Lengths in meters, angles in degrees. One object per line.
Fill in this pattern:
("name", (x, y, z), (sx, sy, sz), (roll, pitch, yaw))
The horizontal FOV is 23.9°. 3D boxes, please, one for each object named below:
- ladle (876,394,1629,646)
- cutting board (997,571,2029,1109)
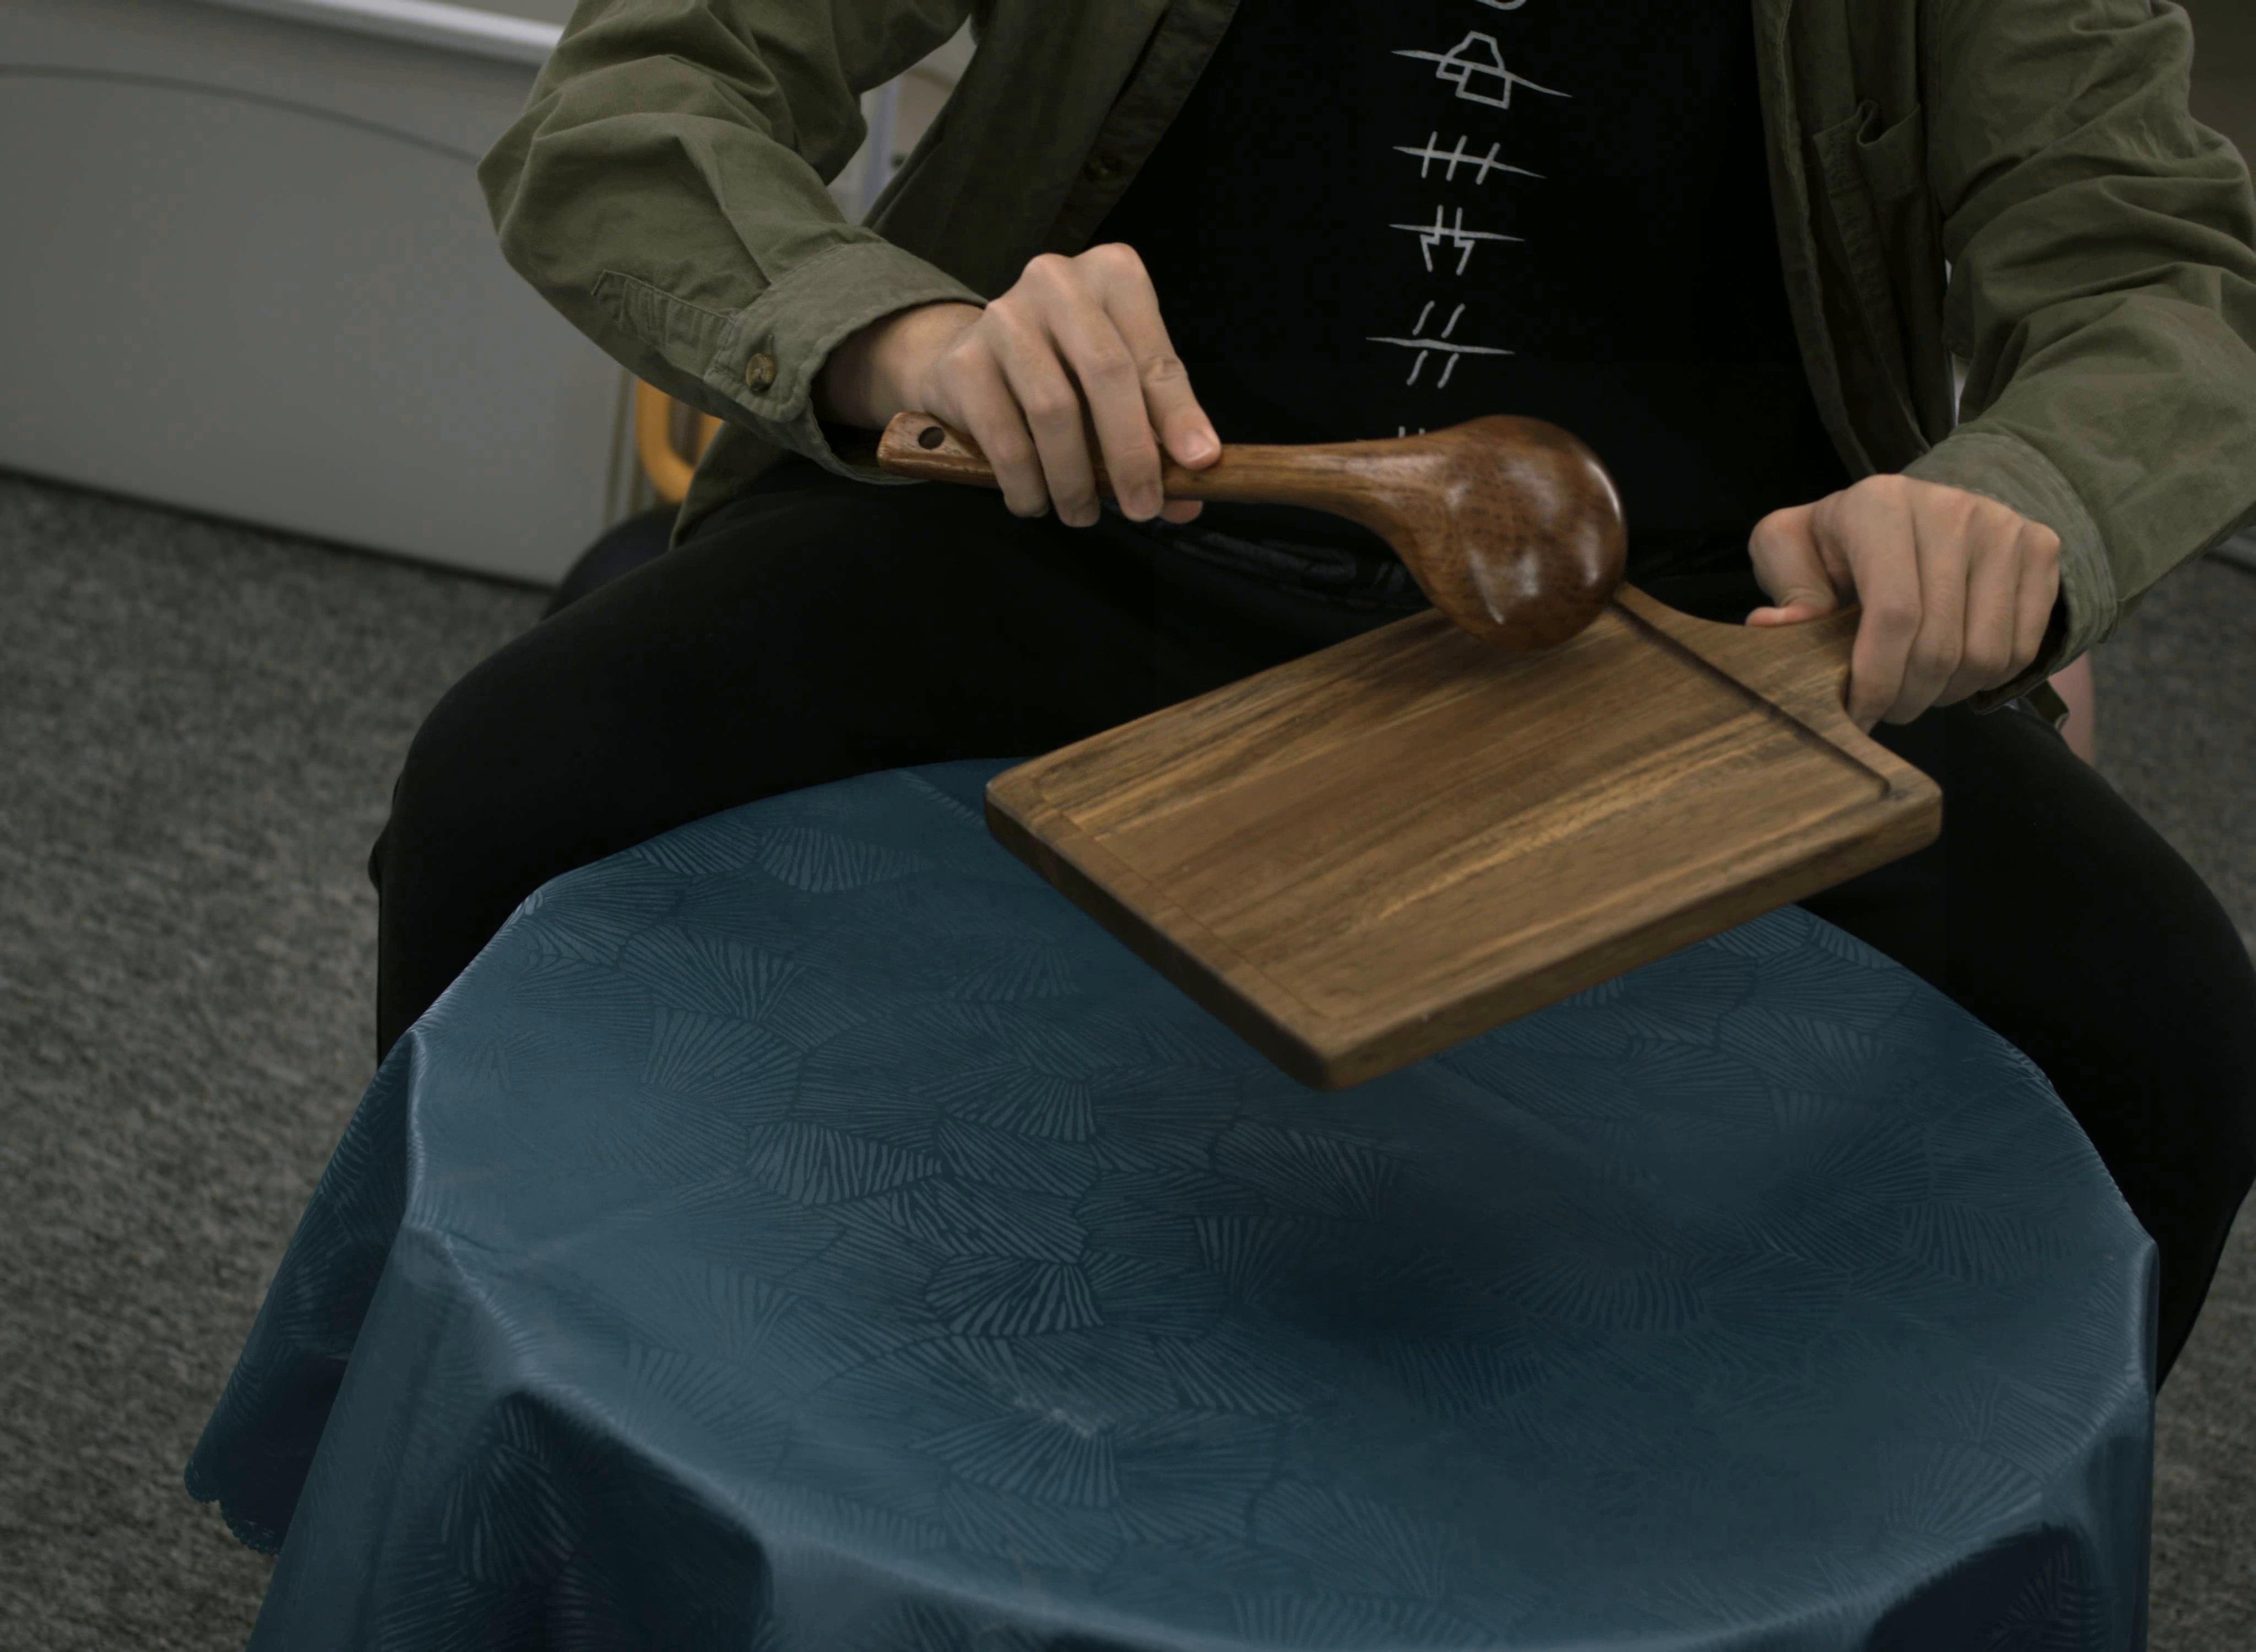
("ladle", (0.043, -0.114, 1.834), (0.275, 0.076, 0.082), (7, 60, 34))
("cutting board", (0.153, -0.017, 1.730), (0.350, 0.023, 0.203), (-20, 36, -25))
